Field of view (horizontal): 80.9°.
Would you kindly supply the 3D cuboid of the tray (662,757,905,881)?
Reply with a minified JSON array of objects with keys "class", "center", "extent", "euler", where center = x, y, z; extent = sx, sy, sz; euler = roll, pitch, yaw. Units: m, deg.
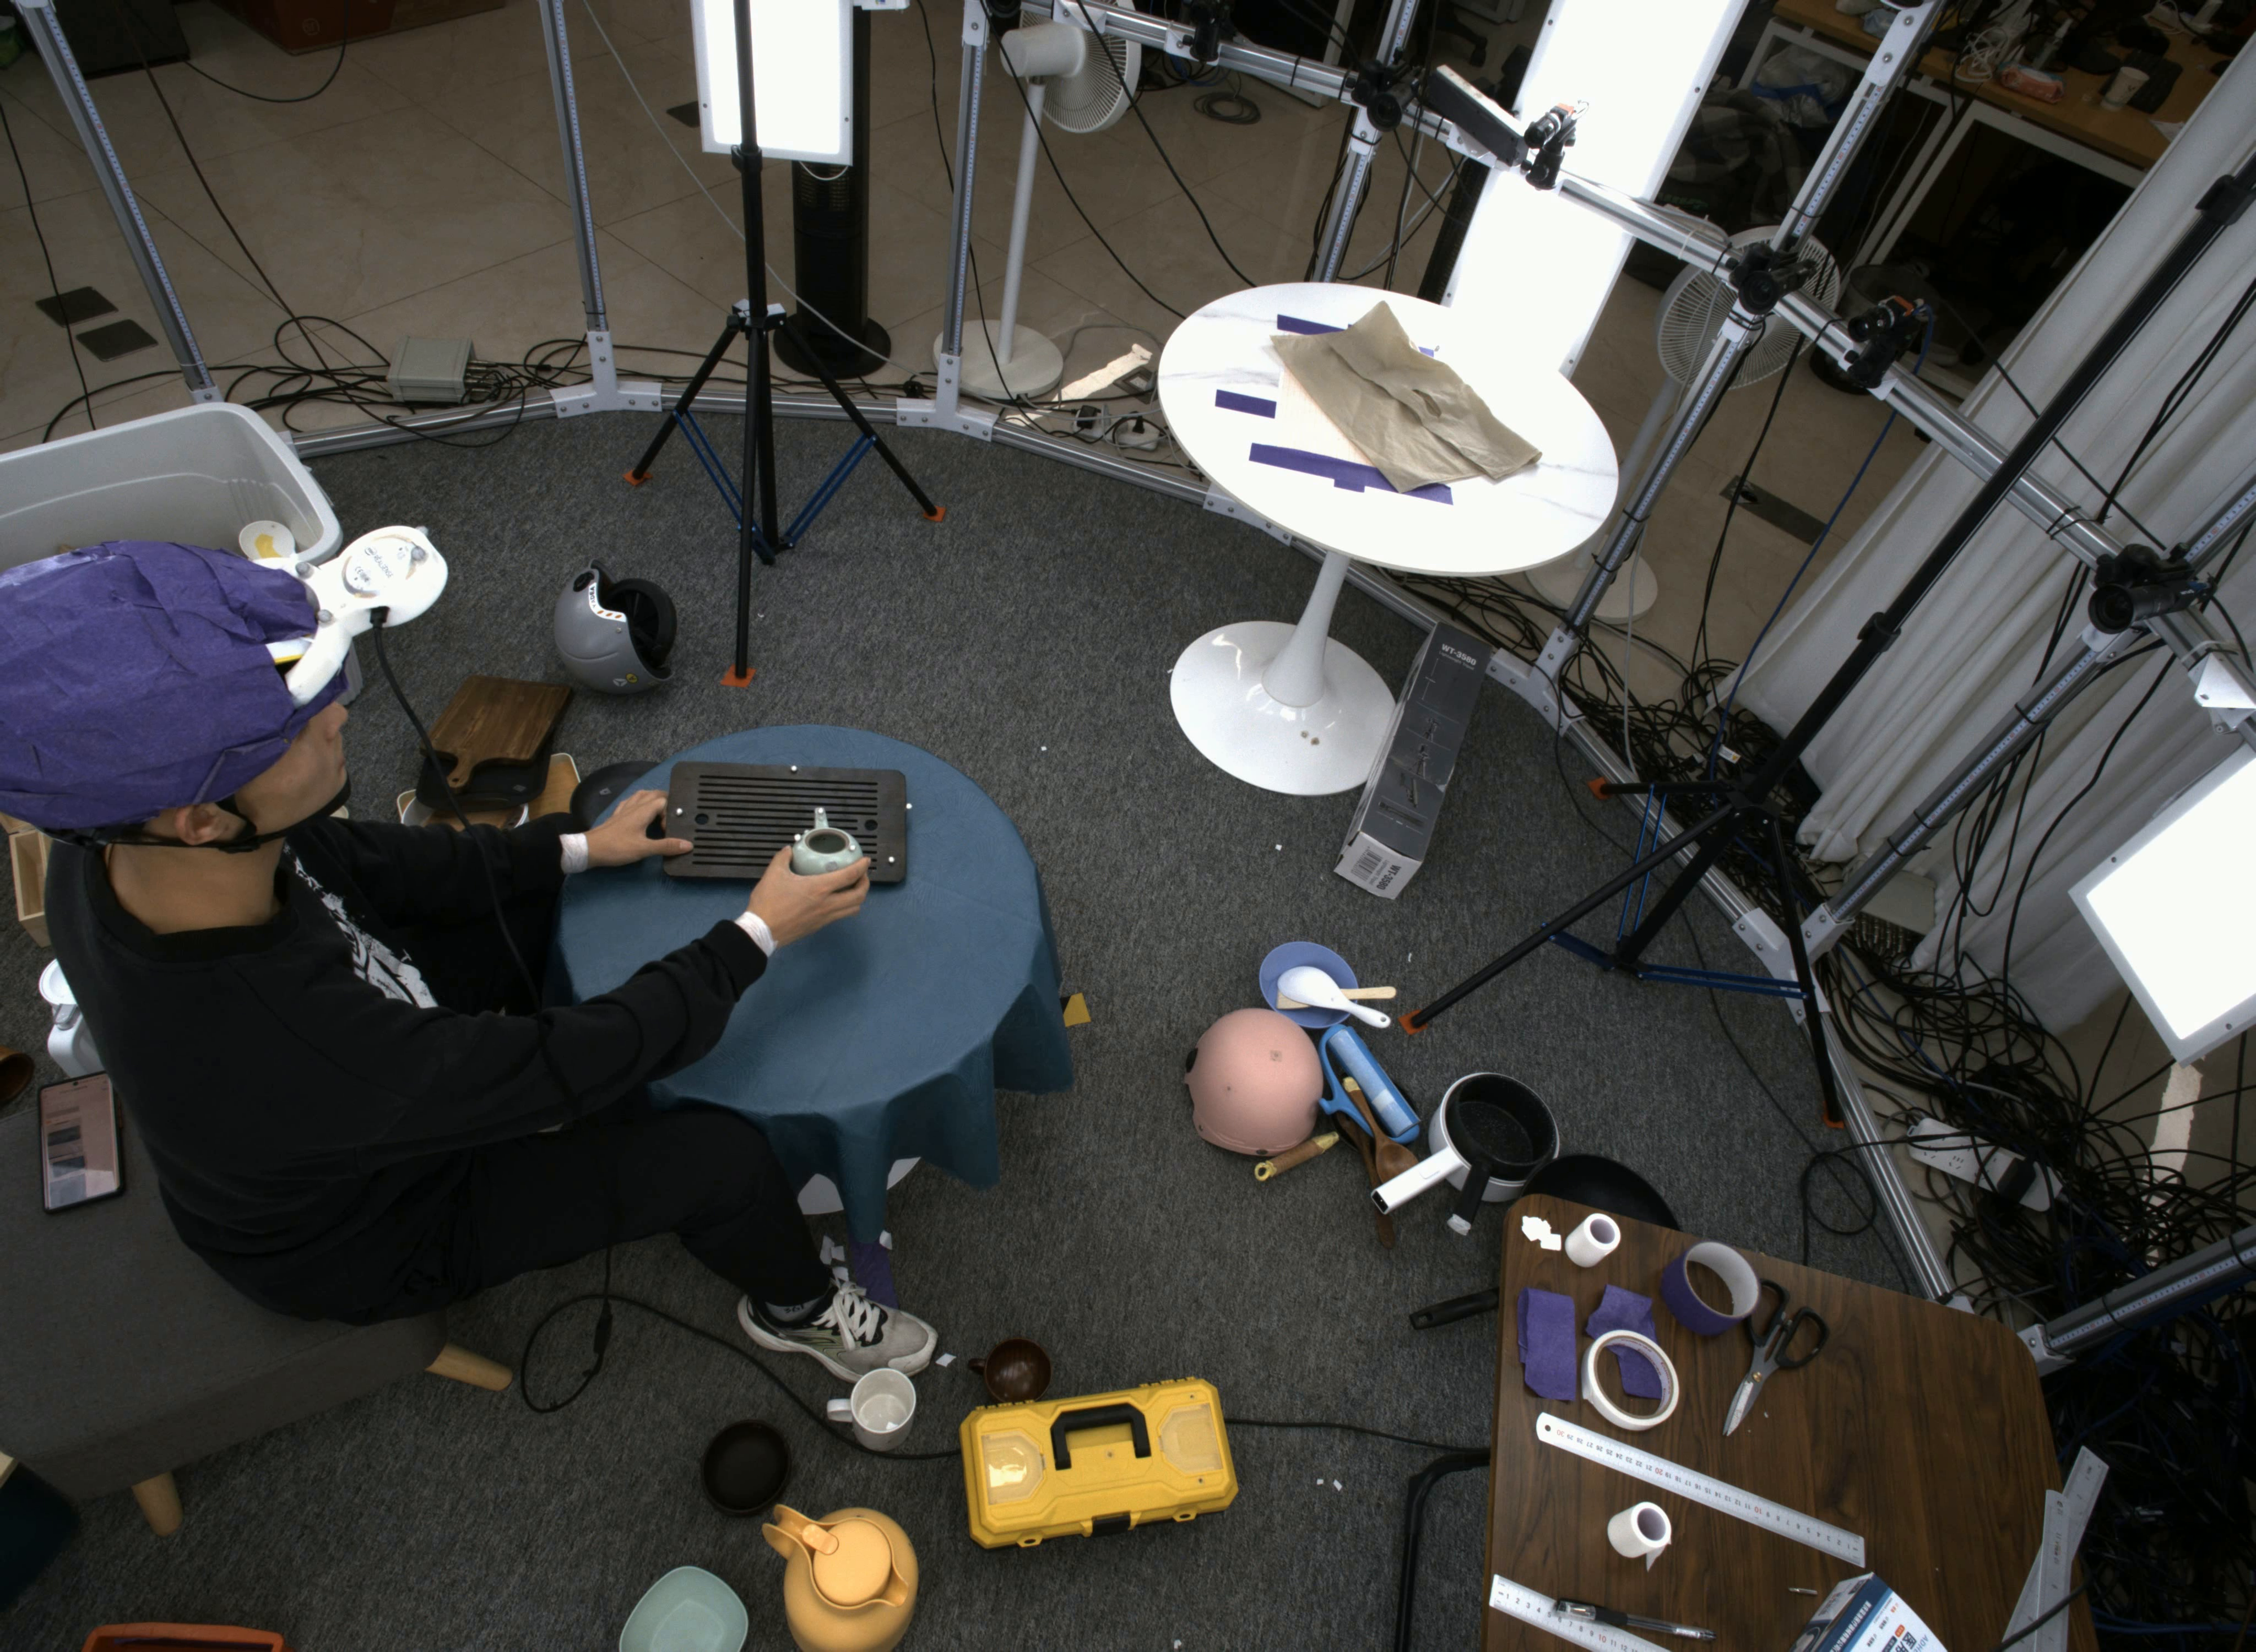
[{"class":"tray","center":[-0.445,-0.008,1.689],"extent":[0.307,0.019,0.167],"euler":[2,62,-16]}]

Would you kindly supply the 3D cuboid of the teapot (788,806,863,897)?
[{"class":"teapot","center":[-0.365,0.040,1.565],"extent":[0.089,0.077,0.139],"euler":[-4,35,-20]}]
